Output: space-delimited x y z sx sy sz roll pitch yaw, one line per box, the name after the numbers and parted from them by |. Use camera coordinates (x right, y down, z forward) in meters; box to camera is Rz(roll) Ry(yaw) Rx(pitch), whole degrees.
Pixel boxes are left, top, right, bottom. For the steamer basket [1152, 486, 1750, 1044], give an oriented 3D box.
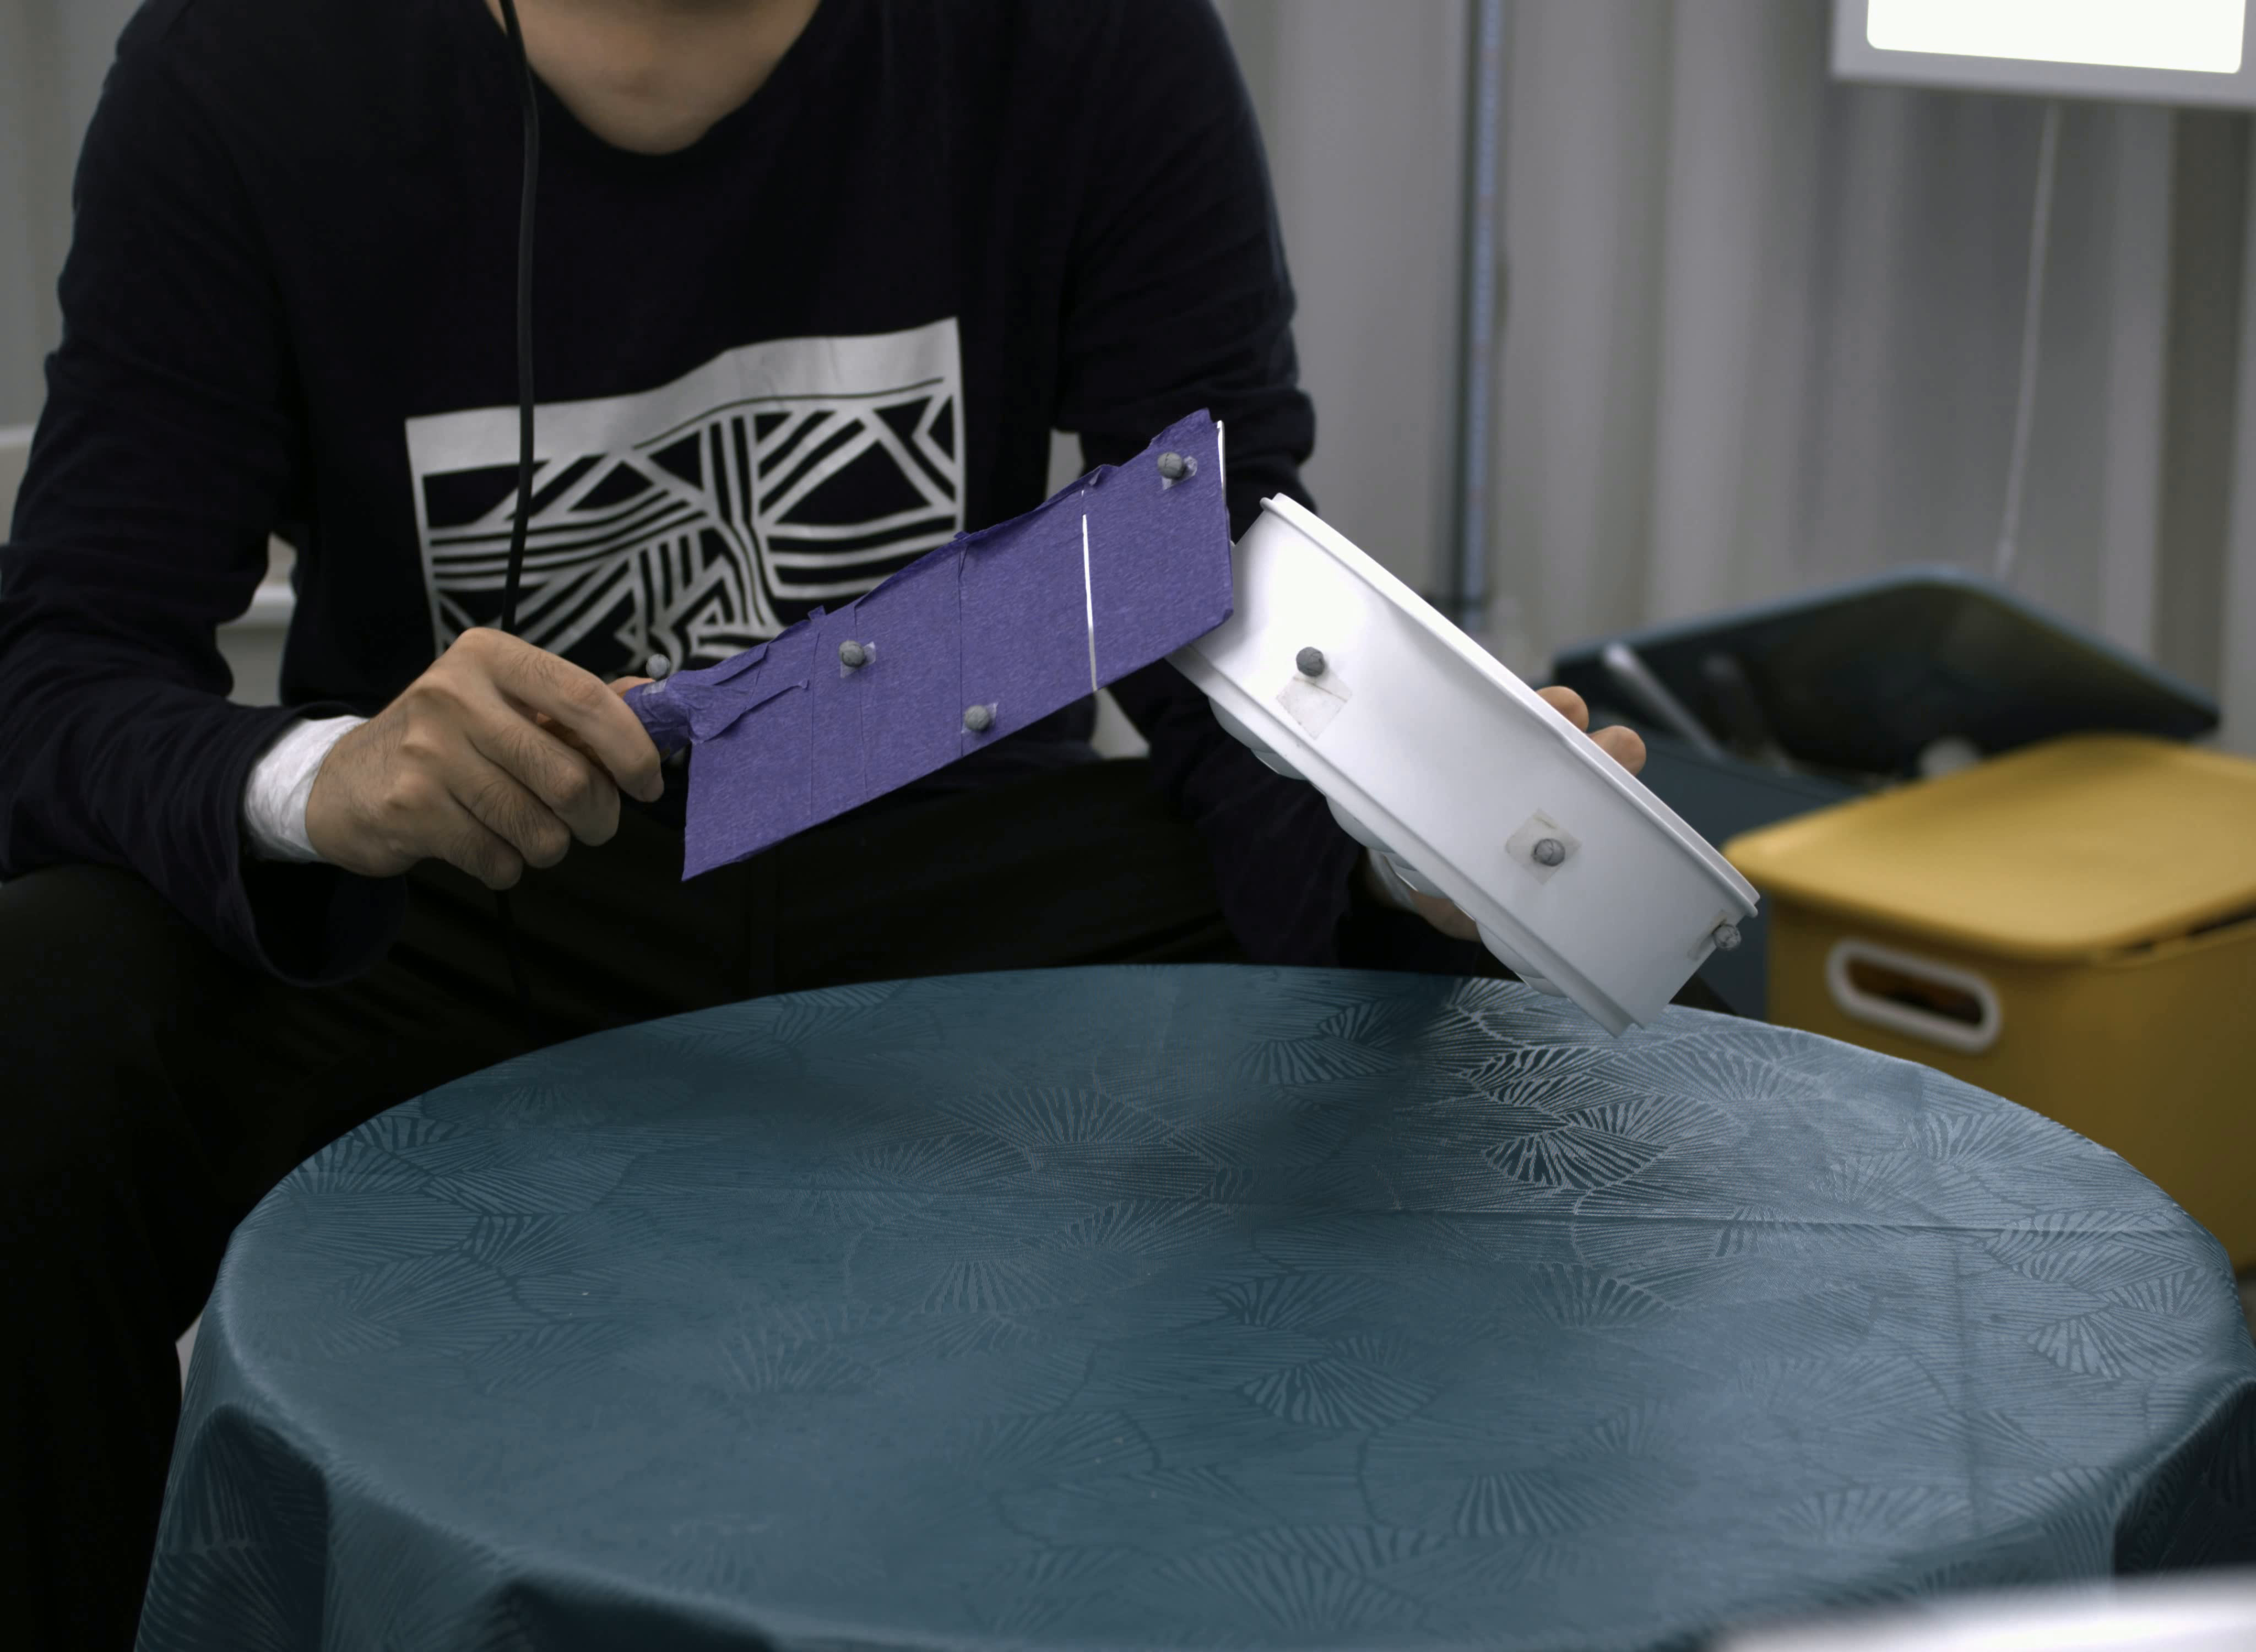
0.097 -0.015 1.631 0.200 0.069 0.232 41 -1 13 | steamer basket

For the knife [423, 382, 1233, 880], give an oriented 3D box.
-0.099 -0.038 1.654 0.314 0.032 0.103 -28 41 25 | knife
